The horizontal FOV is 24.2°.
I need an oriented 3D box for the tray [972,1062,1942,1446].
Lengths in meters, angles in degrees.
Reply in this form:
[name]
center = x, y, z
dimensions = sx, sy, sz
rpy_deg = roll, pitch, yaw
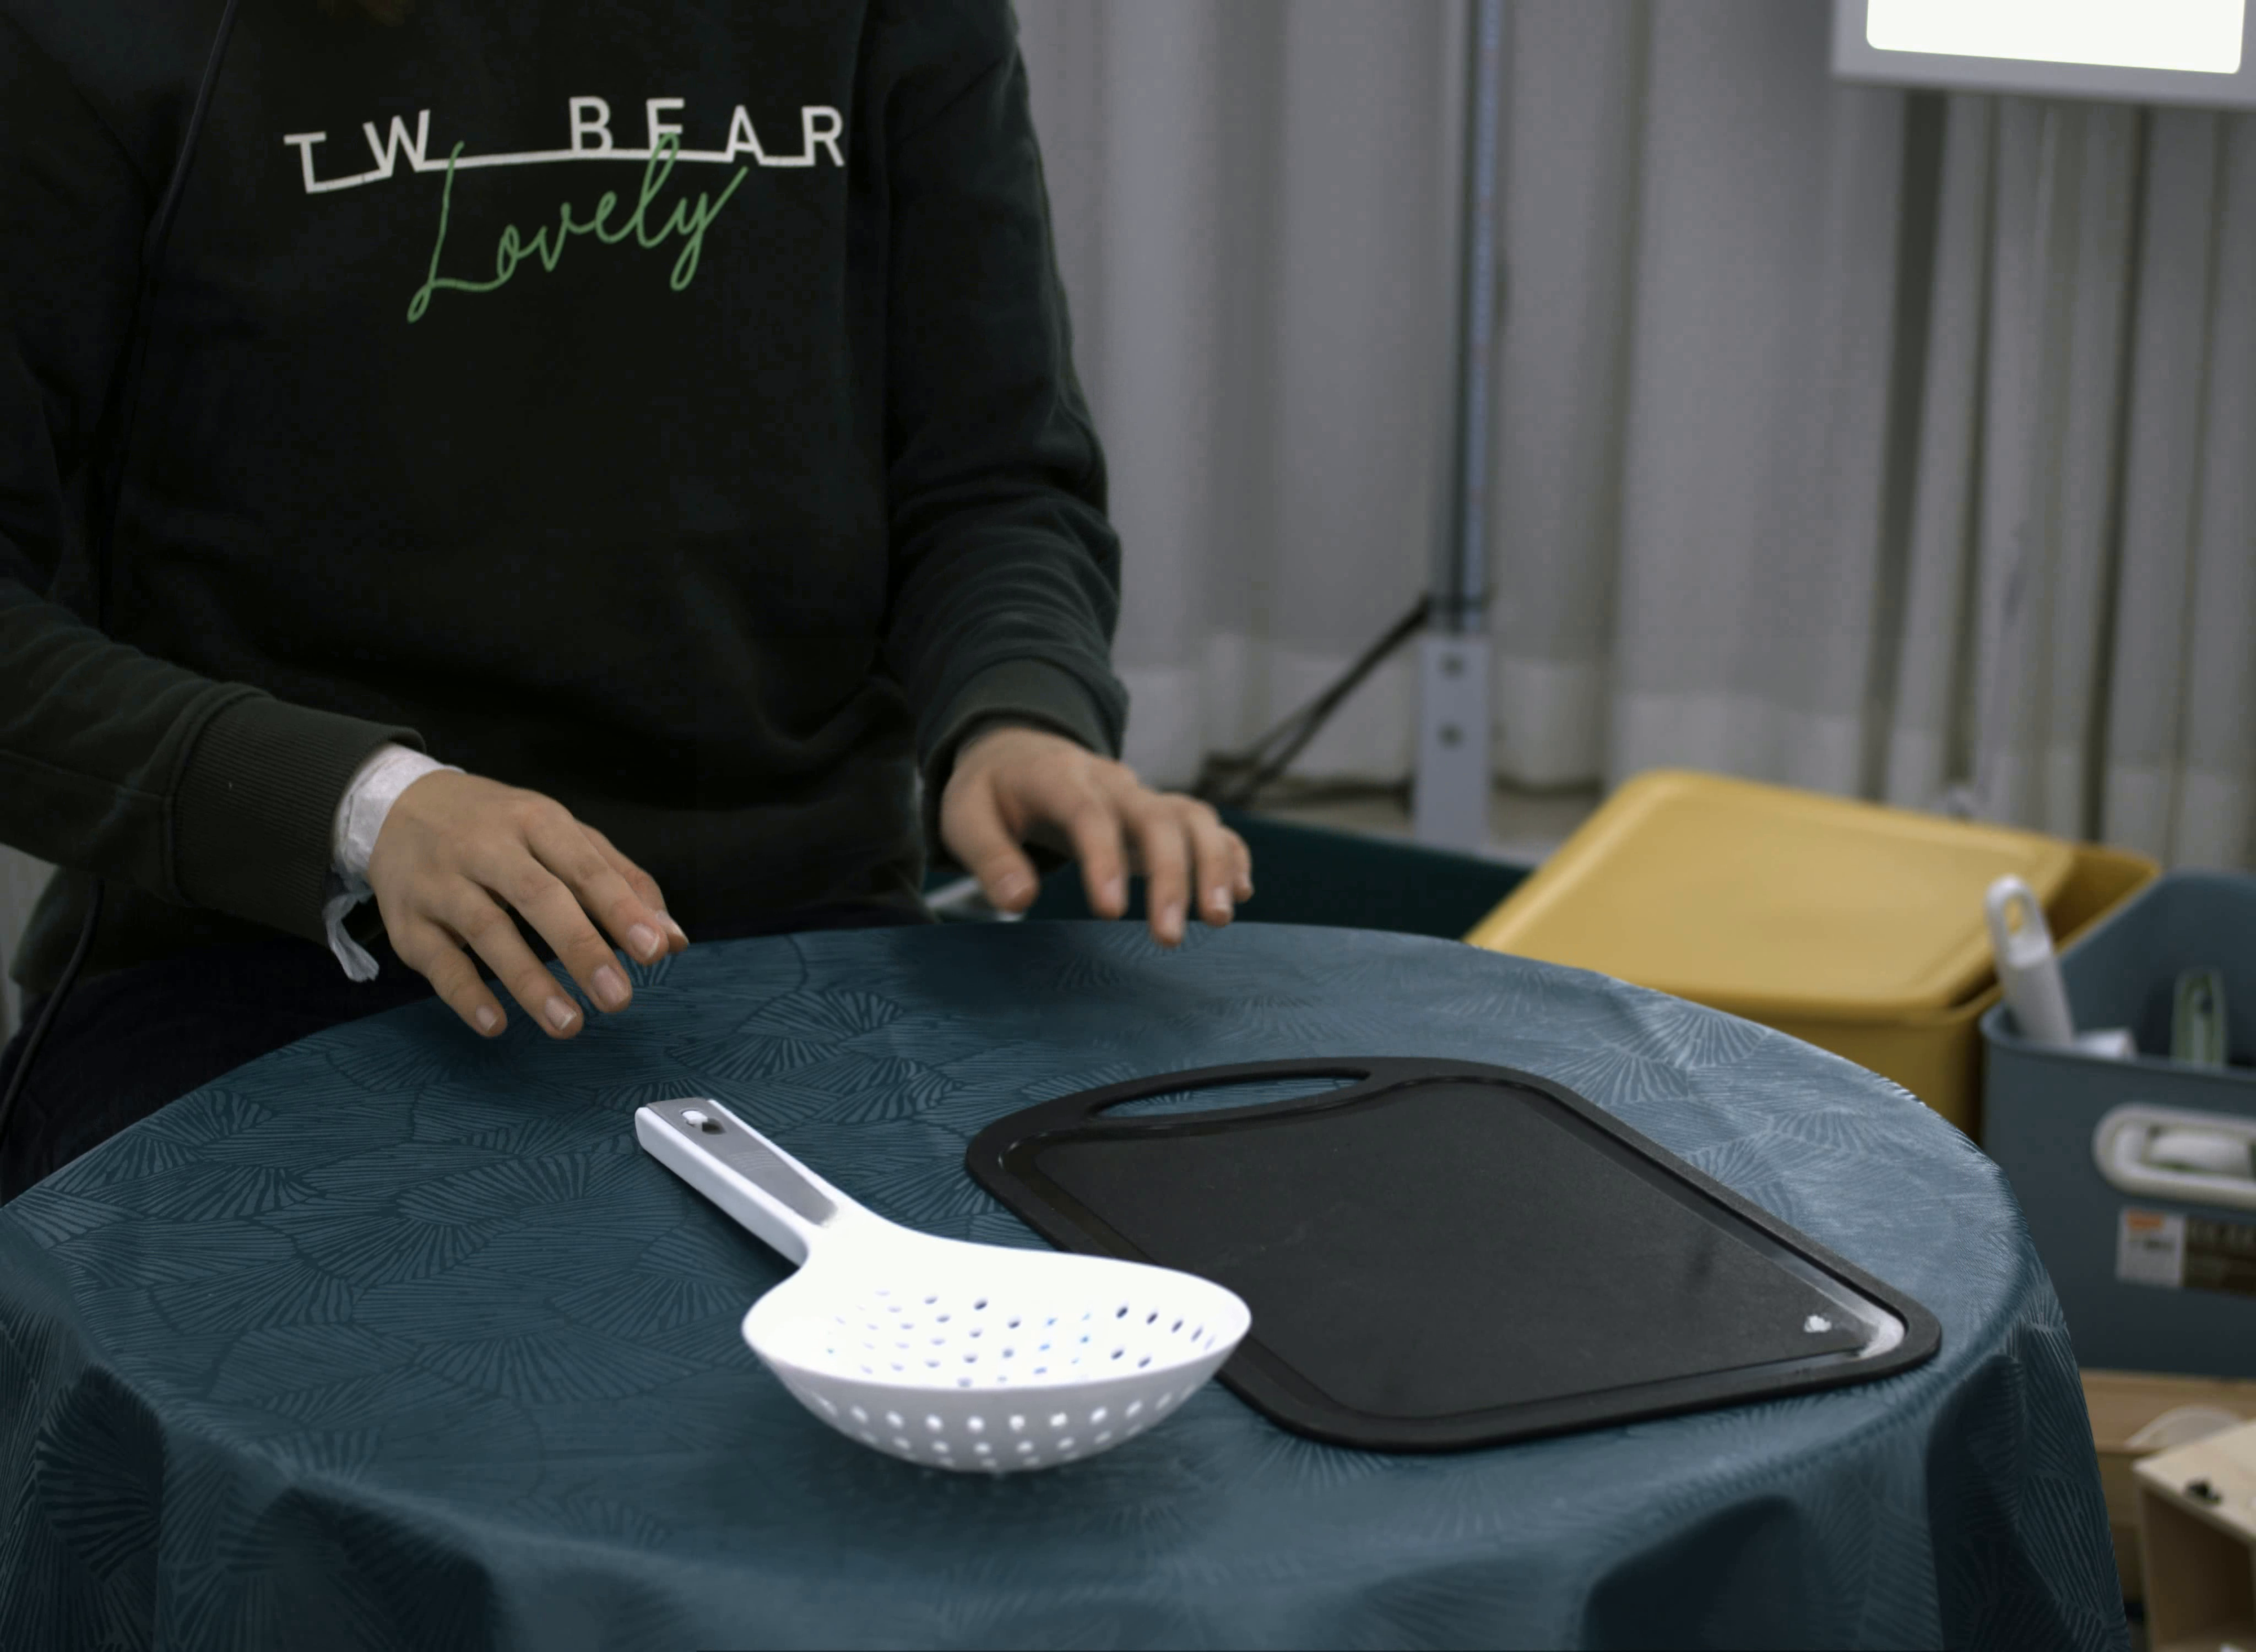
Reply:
[tray]
center = 0.088, 0.121, 1.589
dimensions = 0.212, 0.010, 0.321
rpy_deg = -6, 17, -23

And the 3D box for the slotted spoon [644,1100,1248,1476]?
[slotted spoon]
center = -0.077, 0.122, 1.505
dimensions = 0.136, 0.046, 0.346
rpy_deg = -3, 15, -22
